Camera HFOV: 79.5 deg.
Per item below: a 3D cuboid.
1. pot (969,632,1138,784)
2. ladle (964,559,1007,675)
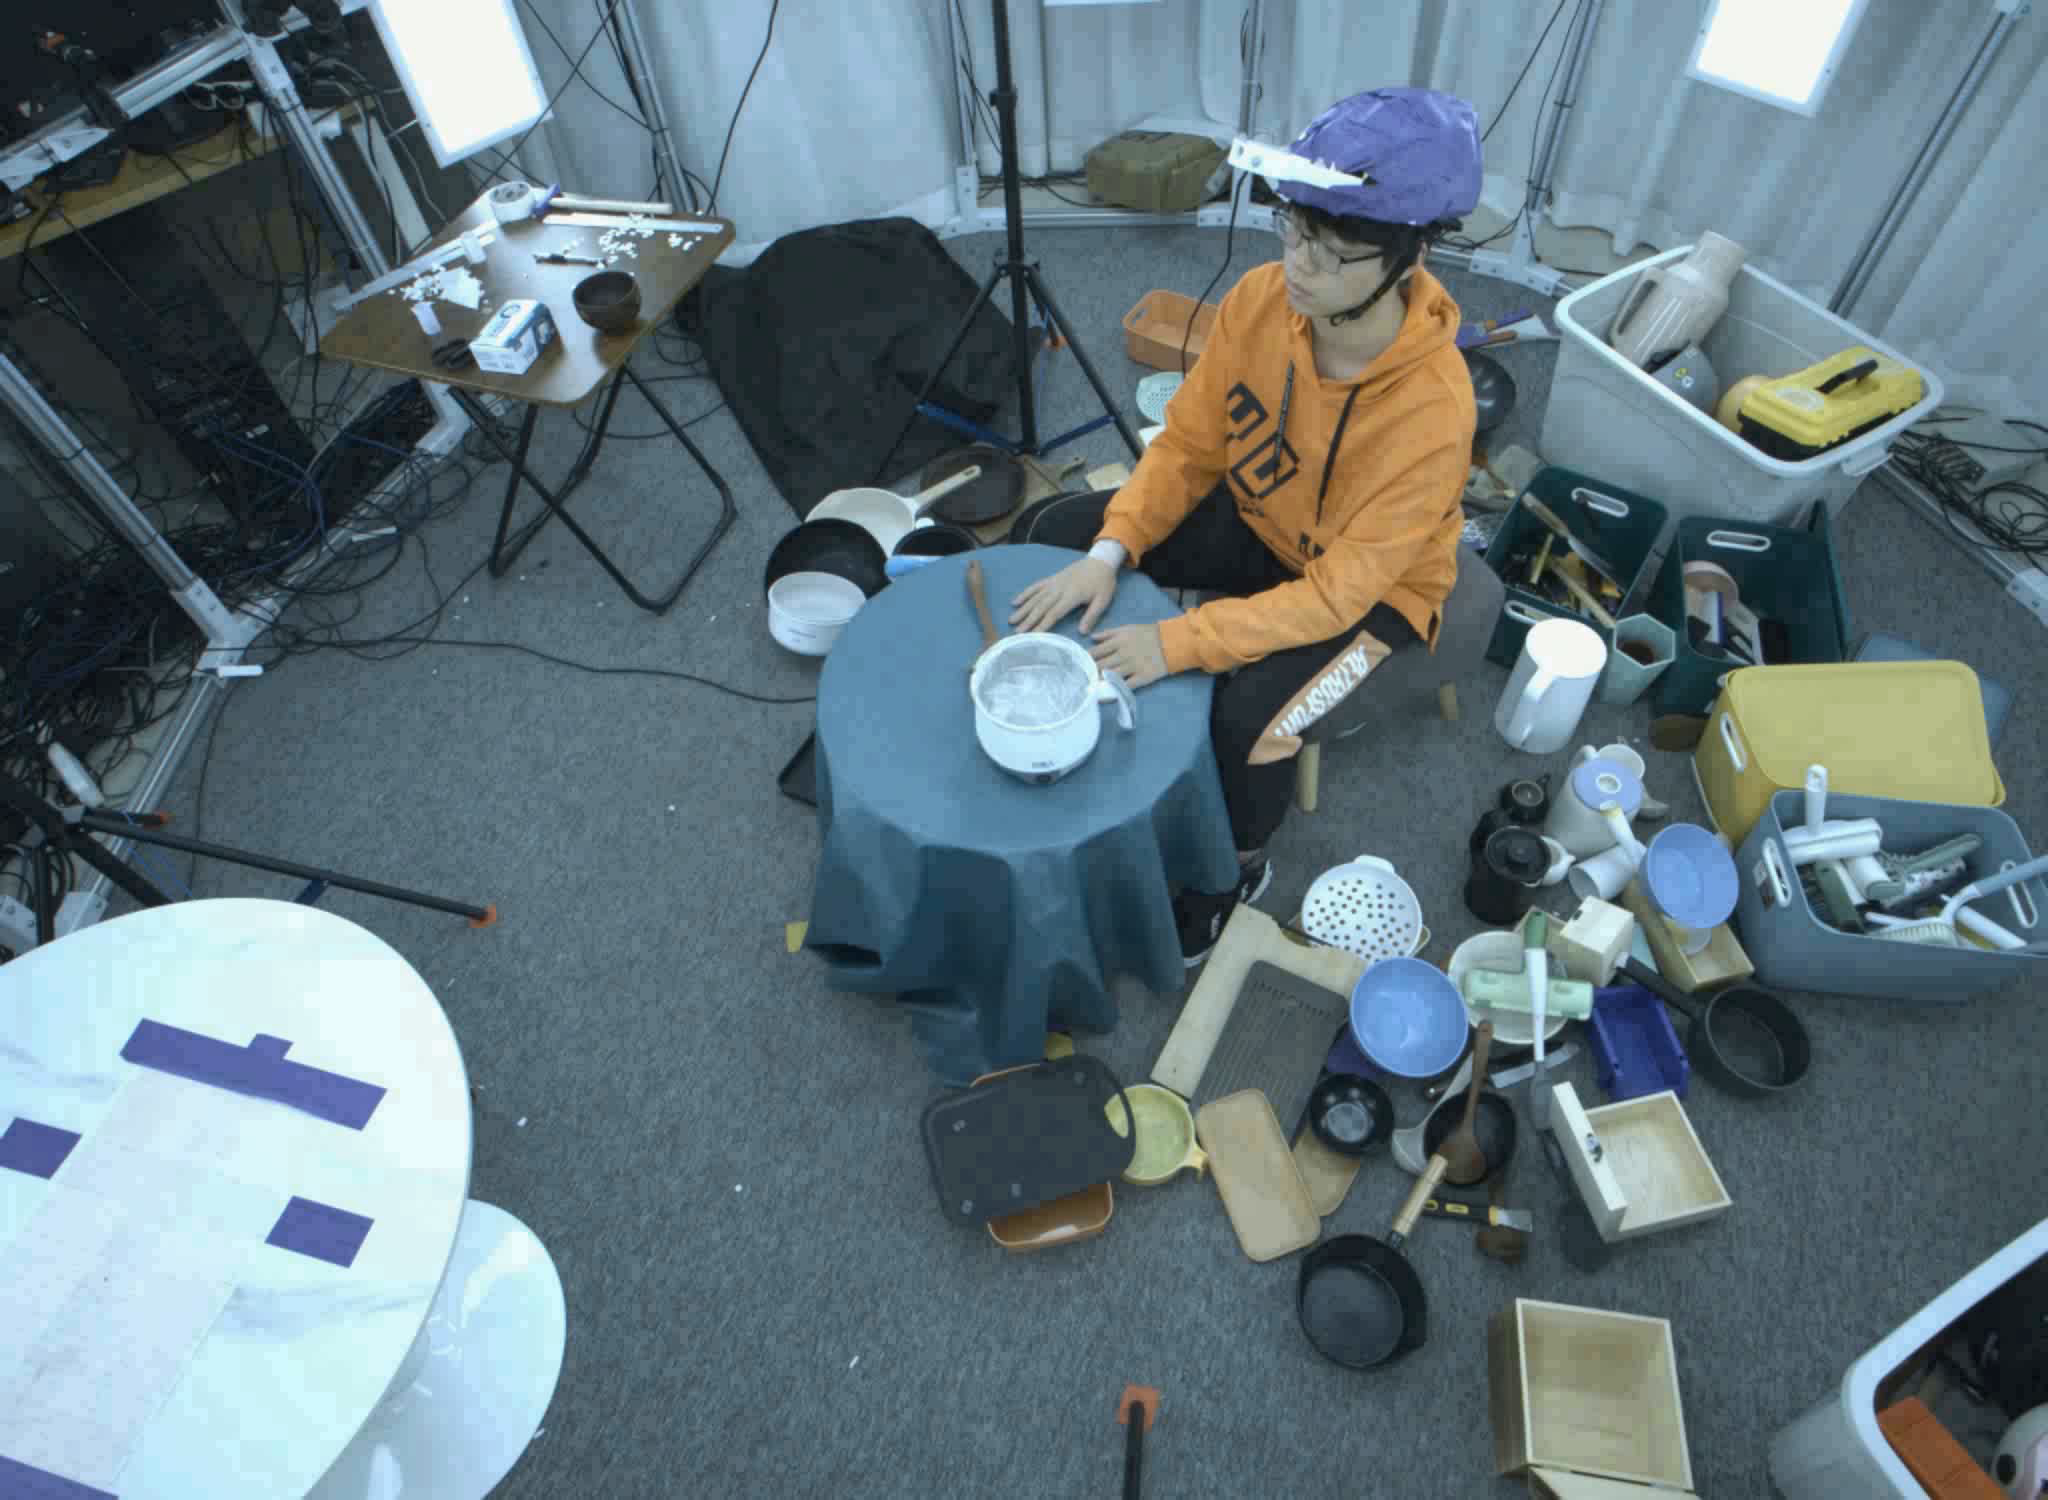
[{"bbox_3d":[0.045,-0.062,1.745,0.234,0.138,0.176,-7,55,-2],"label":"pot"},{"bbox_3d":[-0.072,-0.217,1.906,0.076,0.066,0.256,-25,54,17],"label":"ladle"}]
